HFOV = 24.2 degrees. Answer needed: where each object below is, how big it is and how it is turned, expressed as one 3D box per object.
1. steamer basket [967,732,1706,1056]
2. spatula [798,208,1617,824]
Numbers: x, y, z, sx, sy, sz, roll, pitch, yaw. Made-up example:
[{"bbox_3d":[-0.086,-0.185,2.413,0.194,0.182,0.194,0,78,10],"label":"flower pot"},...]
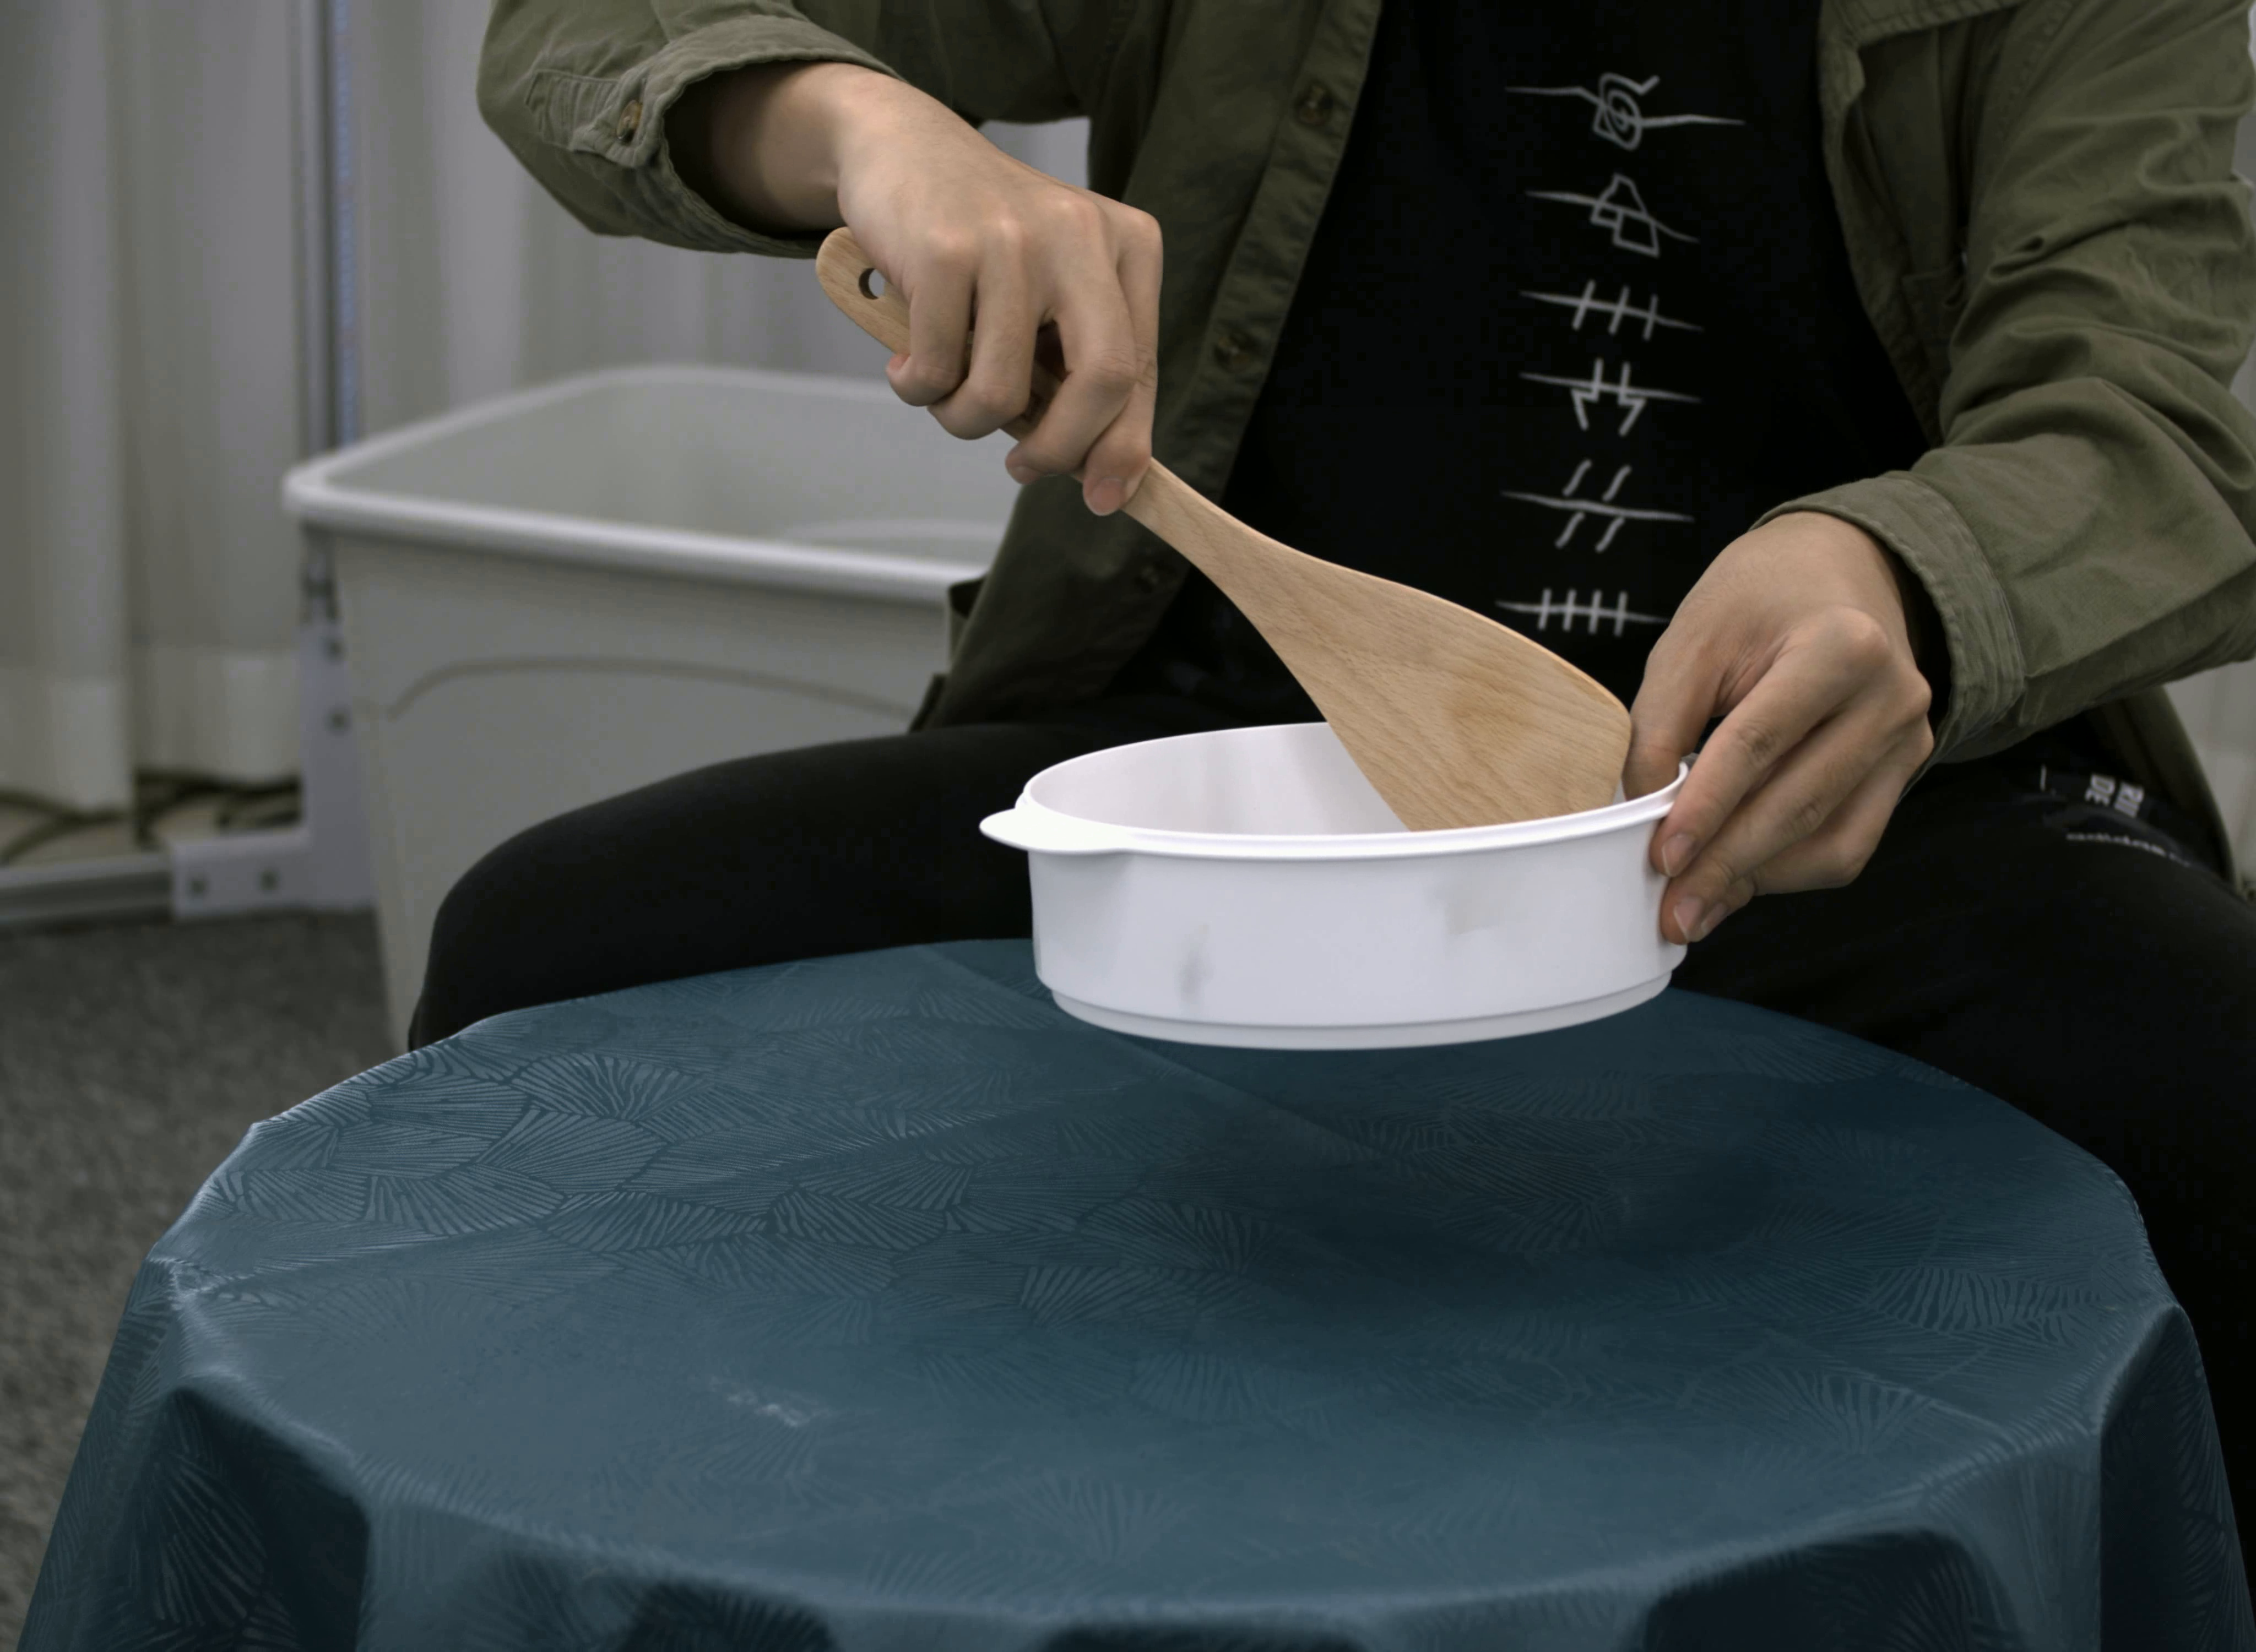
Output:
[{"bbox_3d":[0.064,0.020,1.563,0.231,0.069,0.199,-5,11,-25],"label":"steamer basket"},{"bbox_3d":[0.019,-0.096,1.621,0.325,0.080,0.016,38,26,17],"label":"spatula"}]
